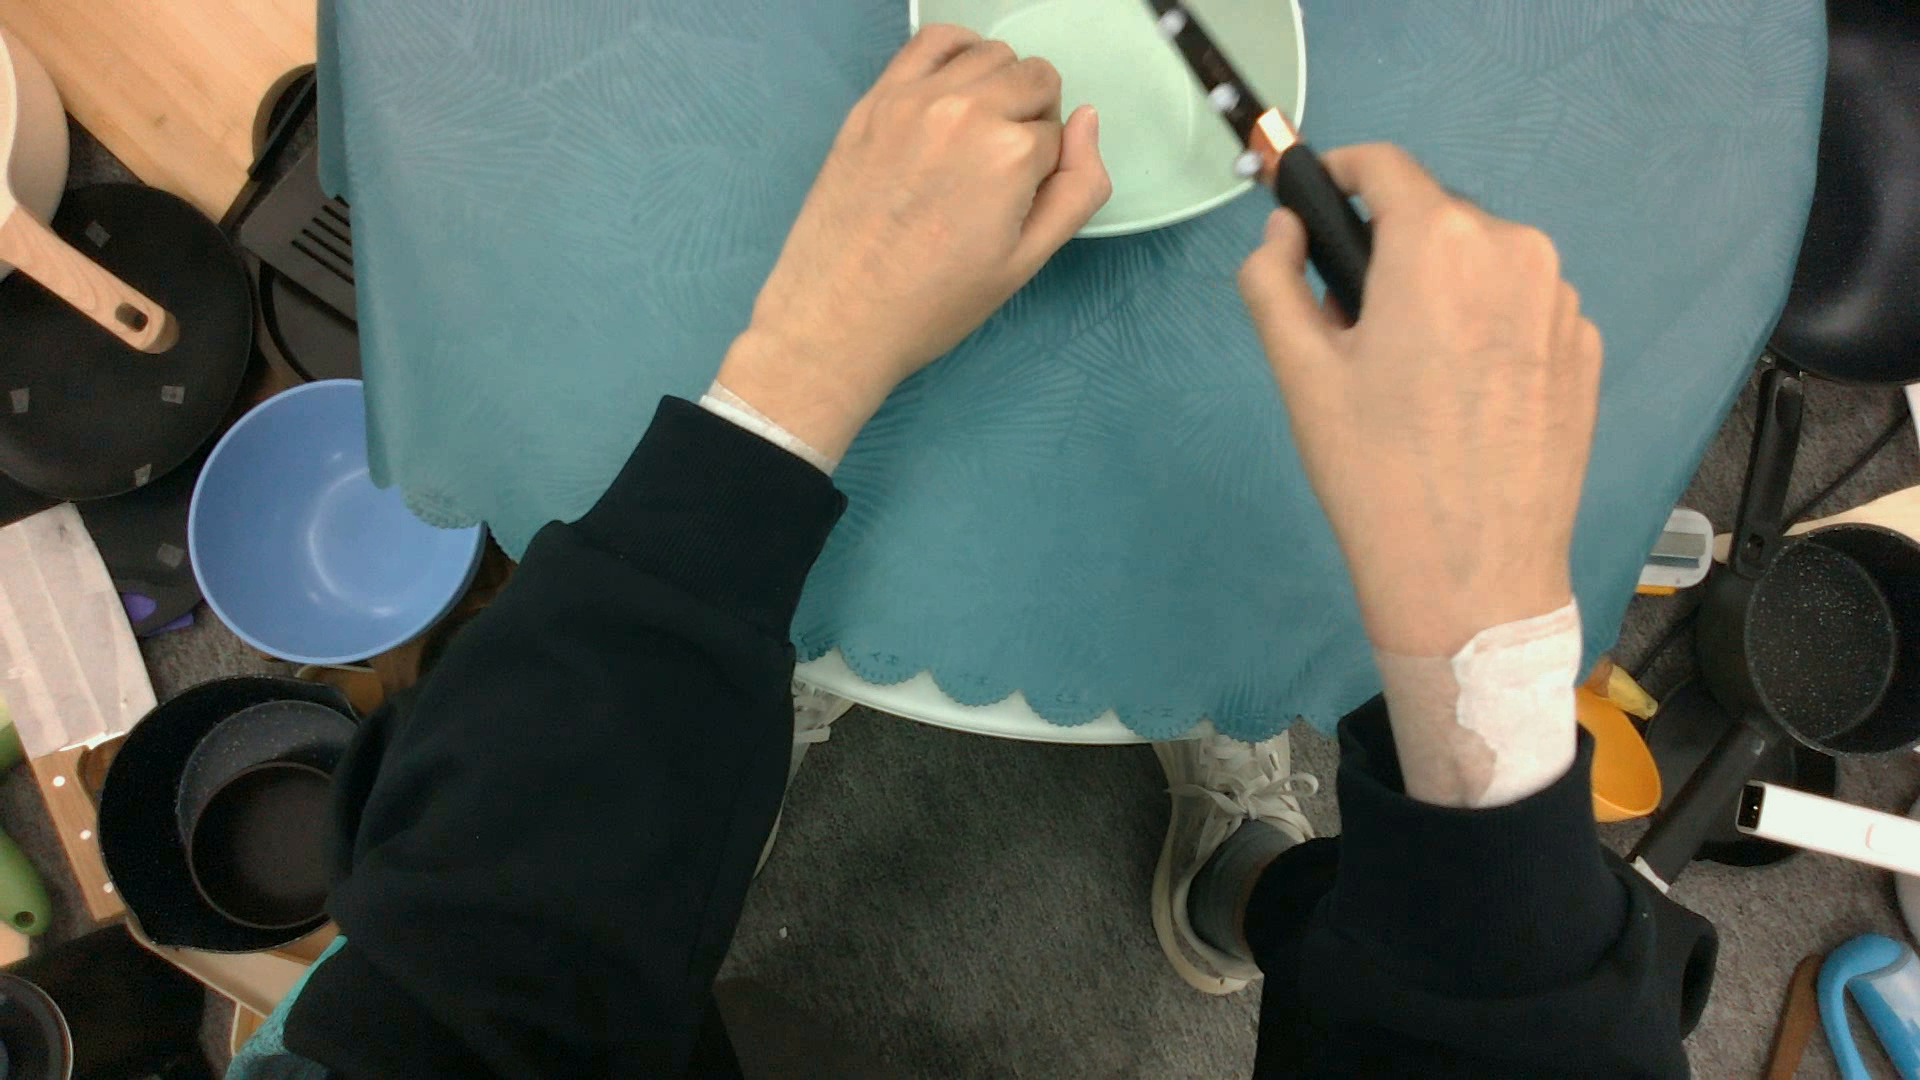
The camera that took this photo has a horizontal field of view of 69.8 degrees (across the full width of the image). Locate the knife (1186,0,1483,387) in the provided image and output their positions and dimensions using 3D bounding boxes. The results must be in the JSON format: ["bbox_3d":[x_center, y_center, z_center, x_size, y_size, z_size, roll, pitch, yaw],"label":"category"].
[{"bbox_3d":[0.100,-0.137,0.431,0.017,0.026,0.226,-15,64,-16],"label":"knife"}]

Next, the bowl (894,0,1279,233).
[{"bbox_3d":[0.045,-0.178,0.524,0.151,0.058,0.151,0,84,-5],"label":"bowl"}]
